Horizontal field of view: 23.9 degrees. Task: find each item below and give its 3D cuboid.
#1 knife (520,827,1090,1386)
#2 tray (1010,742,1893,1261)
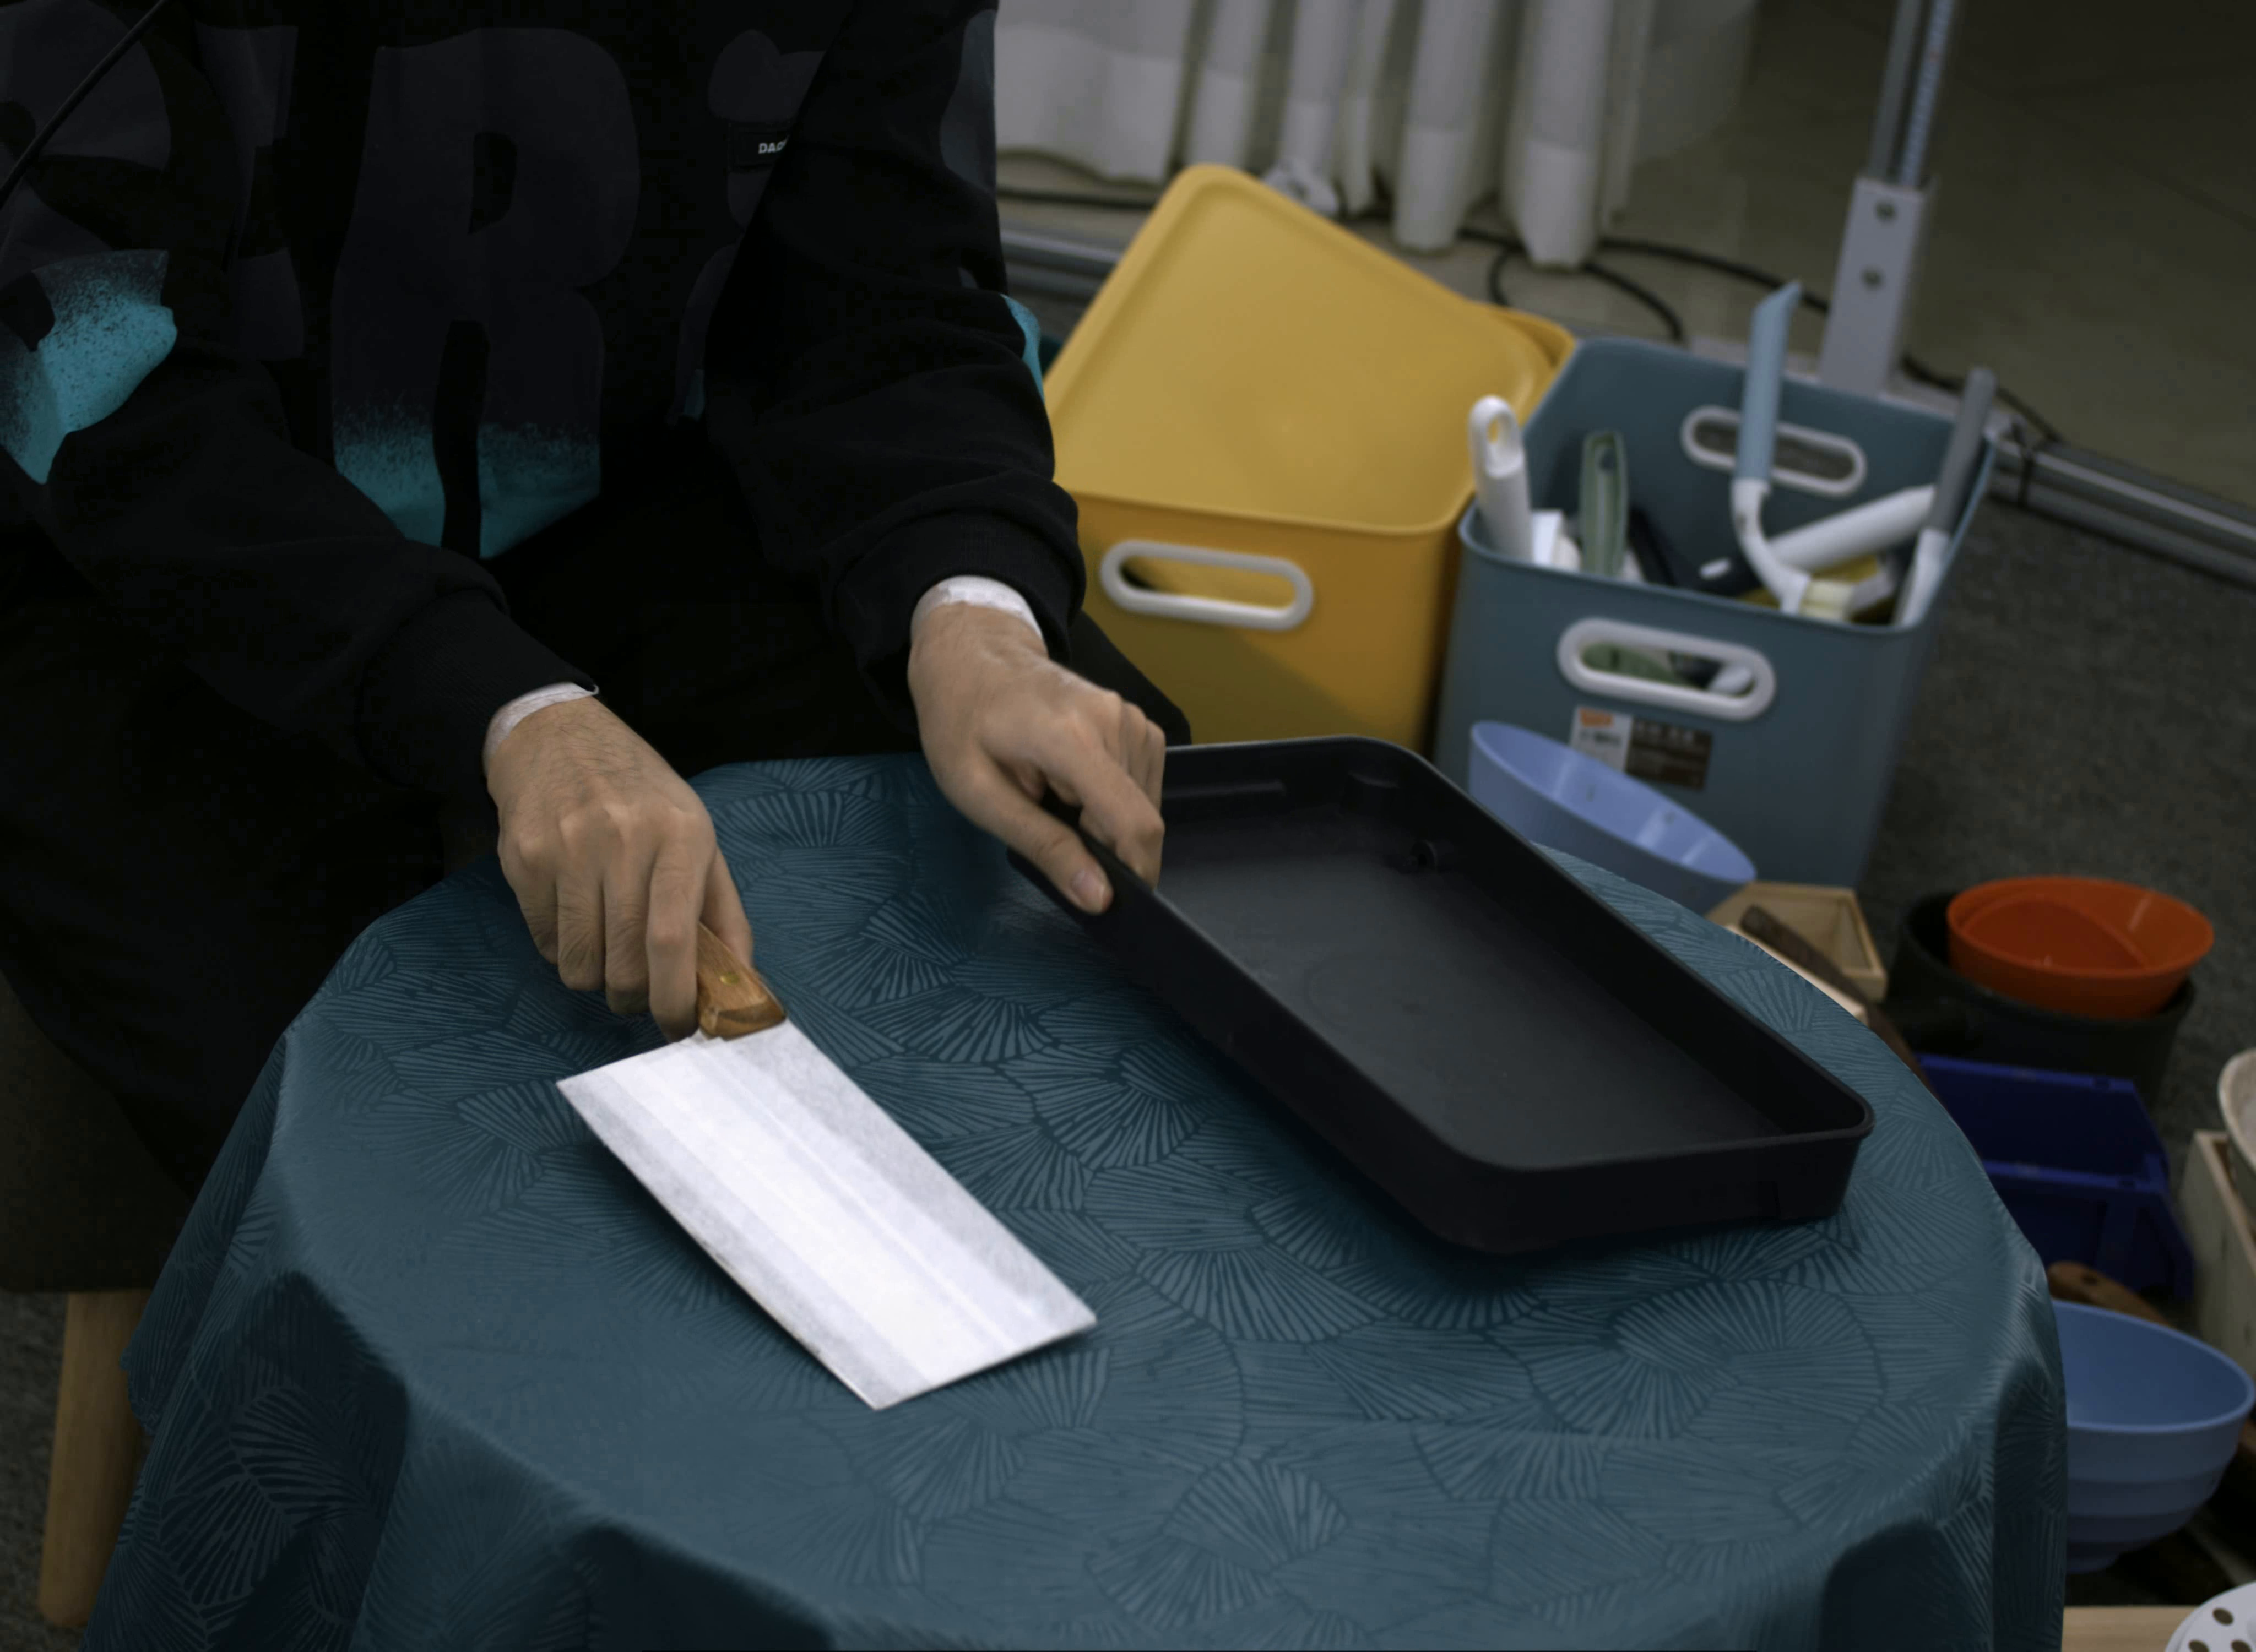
[{"bbox_3d":[-0.134,0.093,1.788,0.092,0.021,0.308,-20,43,-31],"label":"knife"},{"bbox_3d":[0.109,0.056,1.897,0.183,0.037,0.321,-5,28,-35],"label":"tray"}]
